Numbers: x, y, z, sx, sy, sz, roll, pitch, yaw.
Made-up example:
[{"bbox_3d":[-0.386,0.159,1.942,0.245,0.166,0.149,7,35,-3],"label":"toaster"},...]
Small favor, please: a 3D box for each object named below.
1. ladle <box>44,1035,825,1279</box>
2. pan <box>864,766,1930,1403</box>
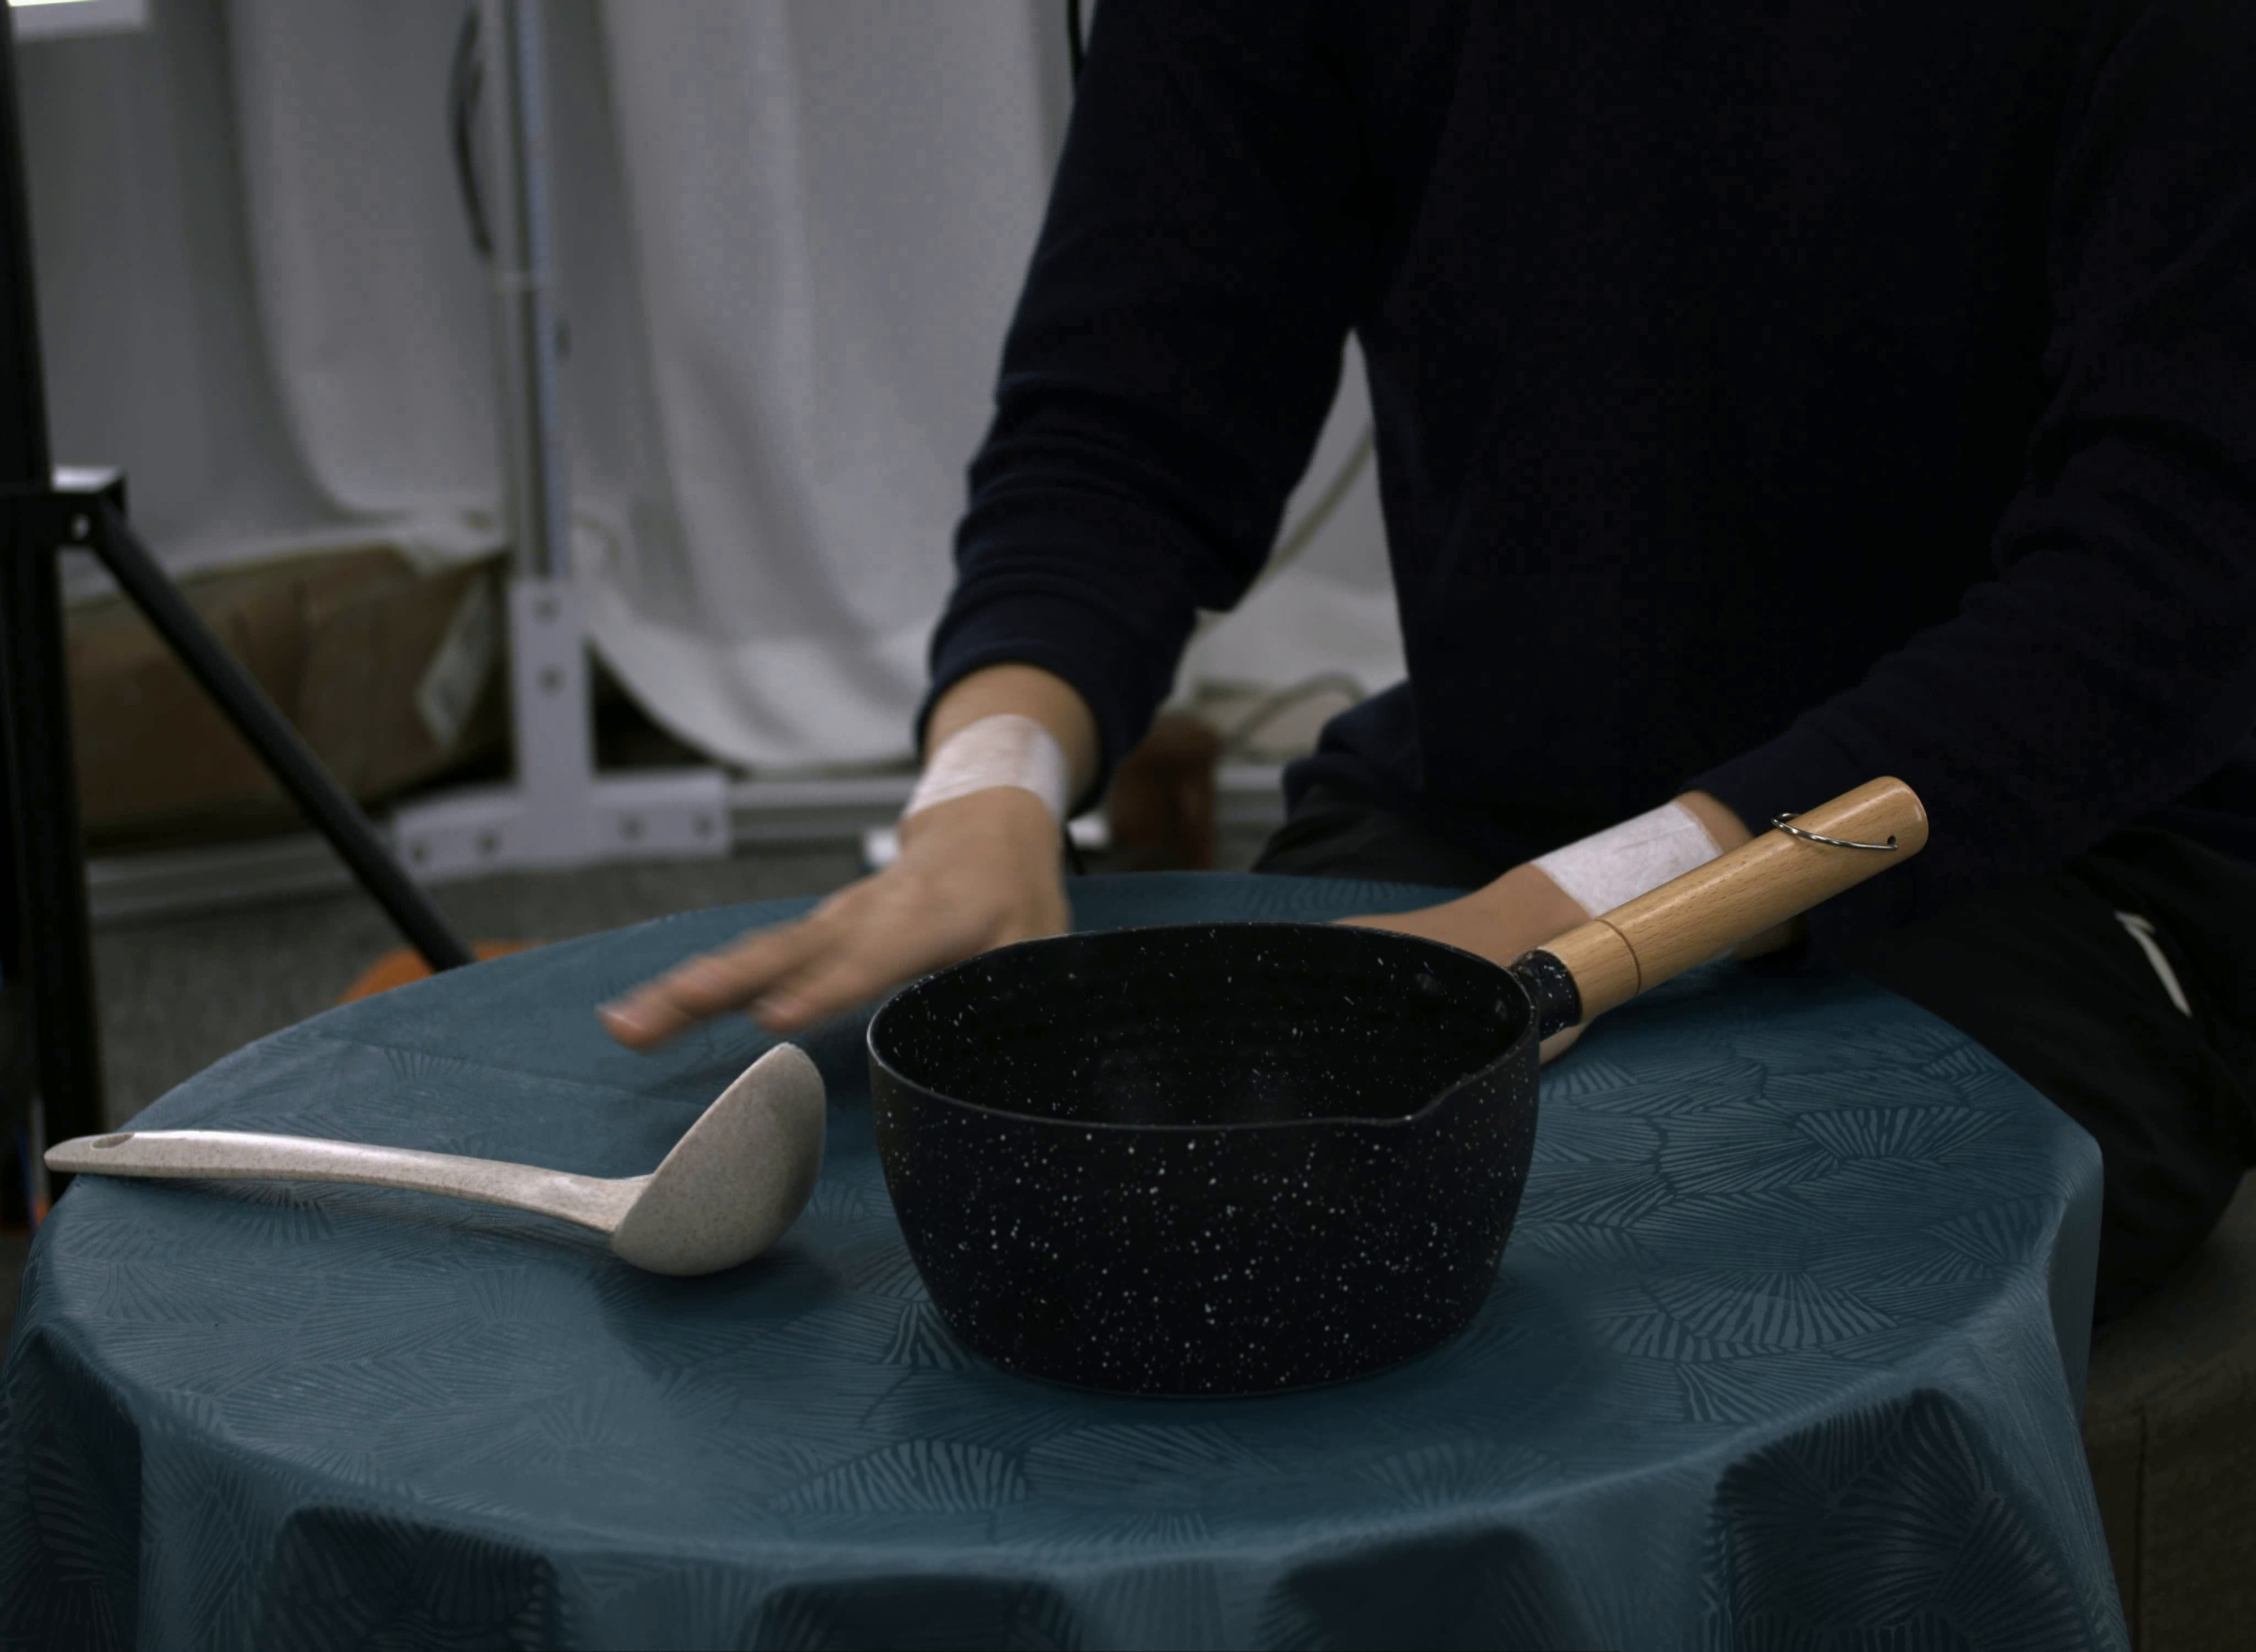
[{"bbox_3d":[-0.212,0.084,1.559,0.279,0.069,0.088,5,29,29],"label":"ladle"},{"bbox_3d":[0.088,0.067,1.490,0.335,0.108,0.212,-13,18,-29],"label":"pan"}]
